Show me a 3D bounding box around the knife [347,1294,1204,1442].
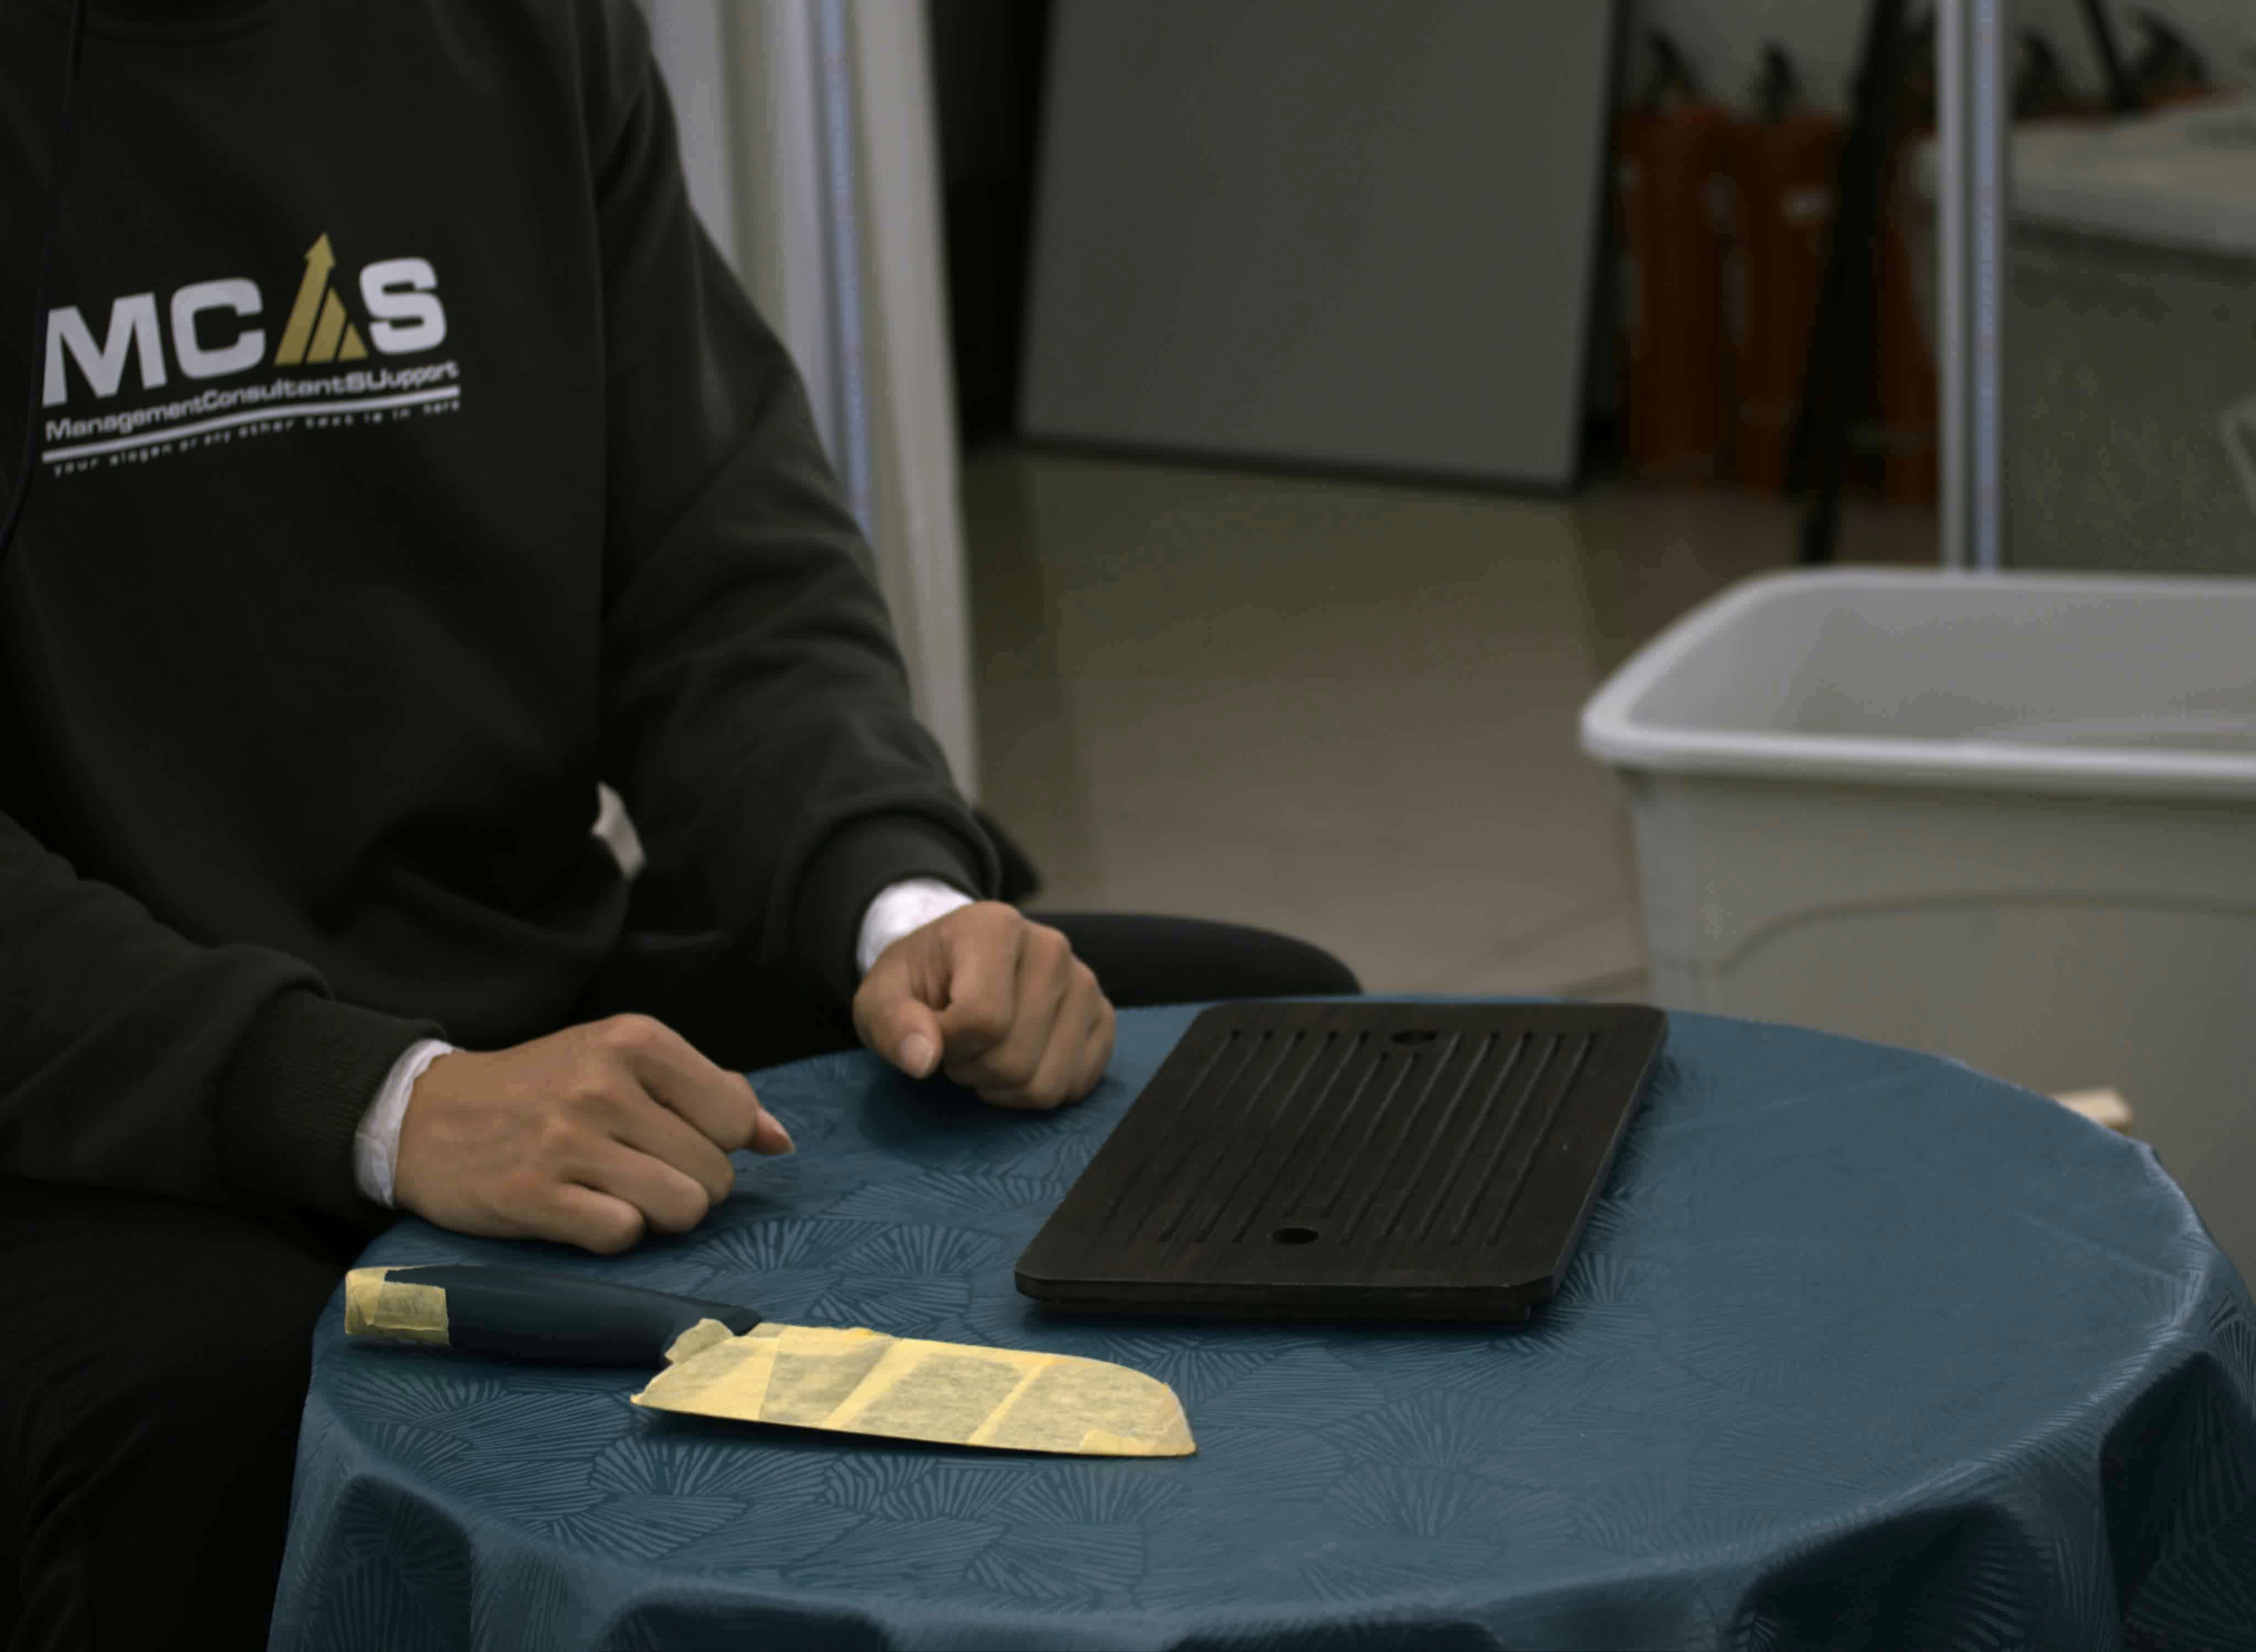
[{"bbox_3d":[-0.111,0.164,1.602,0.289,0.027,0.080,3,13,23],"label":"knife"}]

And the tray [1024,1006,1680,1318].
[{"bbox_3d":[0.081,0.108,1.766,0.169,0.019,0.304,-1,13,14],"label":"tray"}]
